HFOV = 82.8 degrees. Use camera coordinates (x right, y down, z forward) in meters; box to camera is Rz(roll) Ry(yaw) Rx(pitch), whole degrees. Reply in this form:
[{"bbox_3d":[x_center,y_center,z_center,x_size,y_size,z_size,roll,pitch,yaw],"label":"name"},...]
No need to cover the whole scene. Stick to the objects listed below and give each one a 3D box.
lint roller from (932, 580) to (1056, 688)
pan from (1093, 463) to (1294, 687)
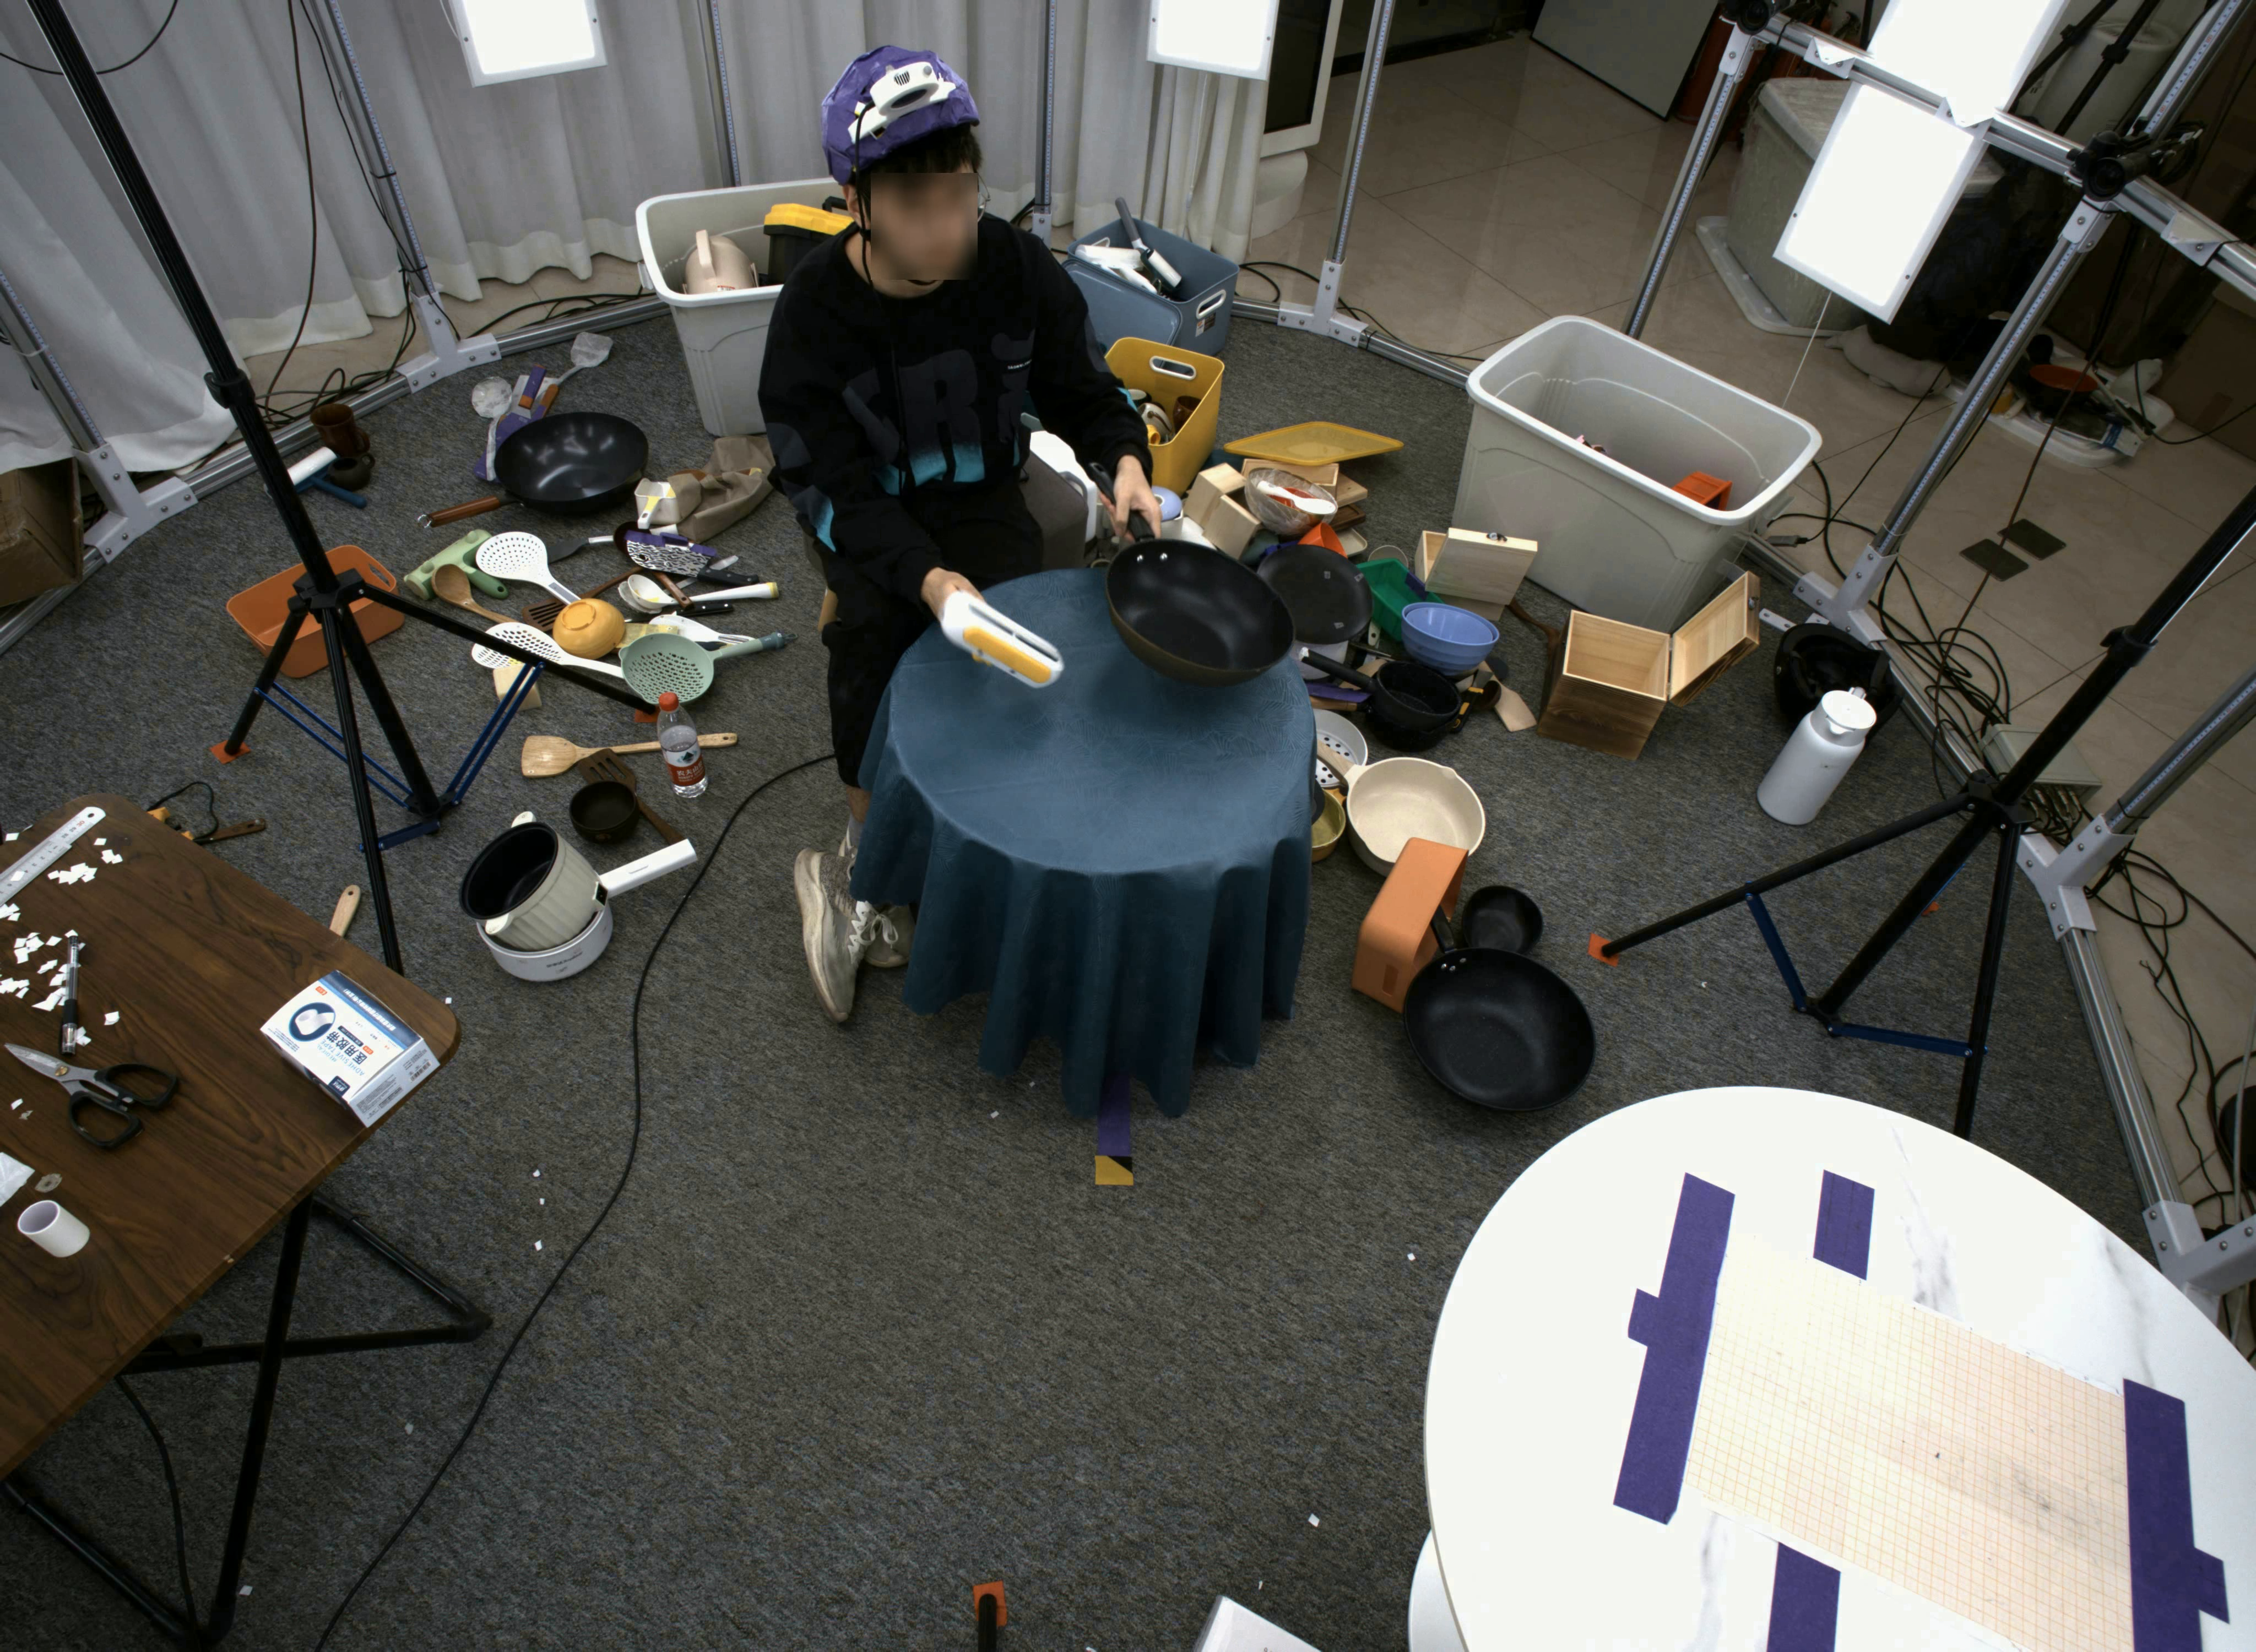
[{"bbox_3d":[-0.195,-0.281,1.761,0.190,0.073,0.197,29,21,-31],"label":"lint roller"},{"bbox_3d":[0.046,-0.355,1.854,0.288,0.085,0.473,-11,53,-32],"label":"pan"}]
